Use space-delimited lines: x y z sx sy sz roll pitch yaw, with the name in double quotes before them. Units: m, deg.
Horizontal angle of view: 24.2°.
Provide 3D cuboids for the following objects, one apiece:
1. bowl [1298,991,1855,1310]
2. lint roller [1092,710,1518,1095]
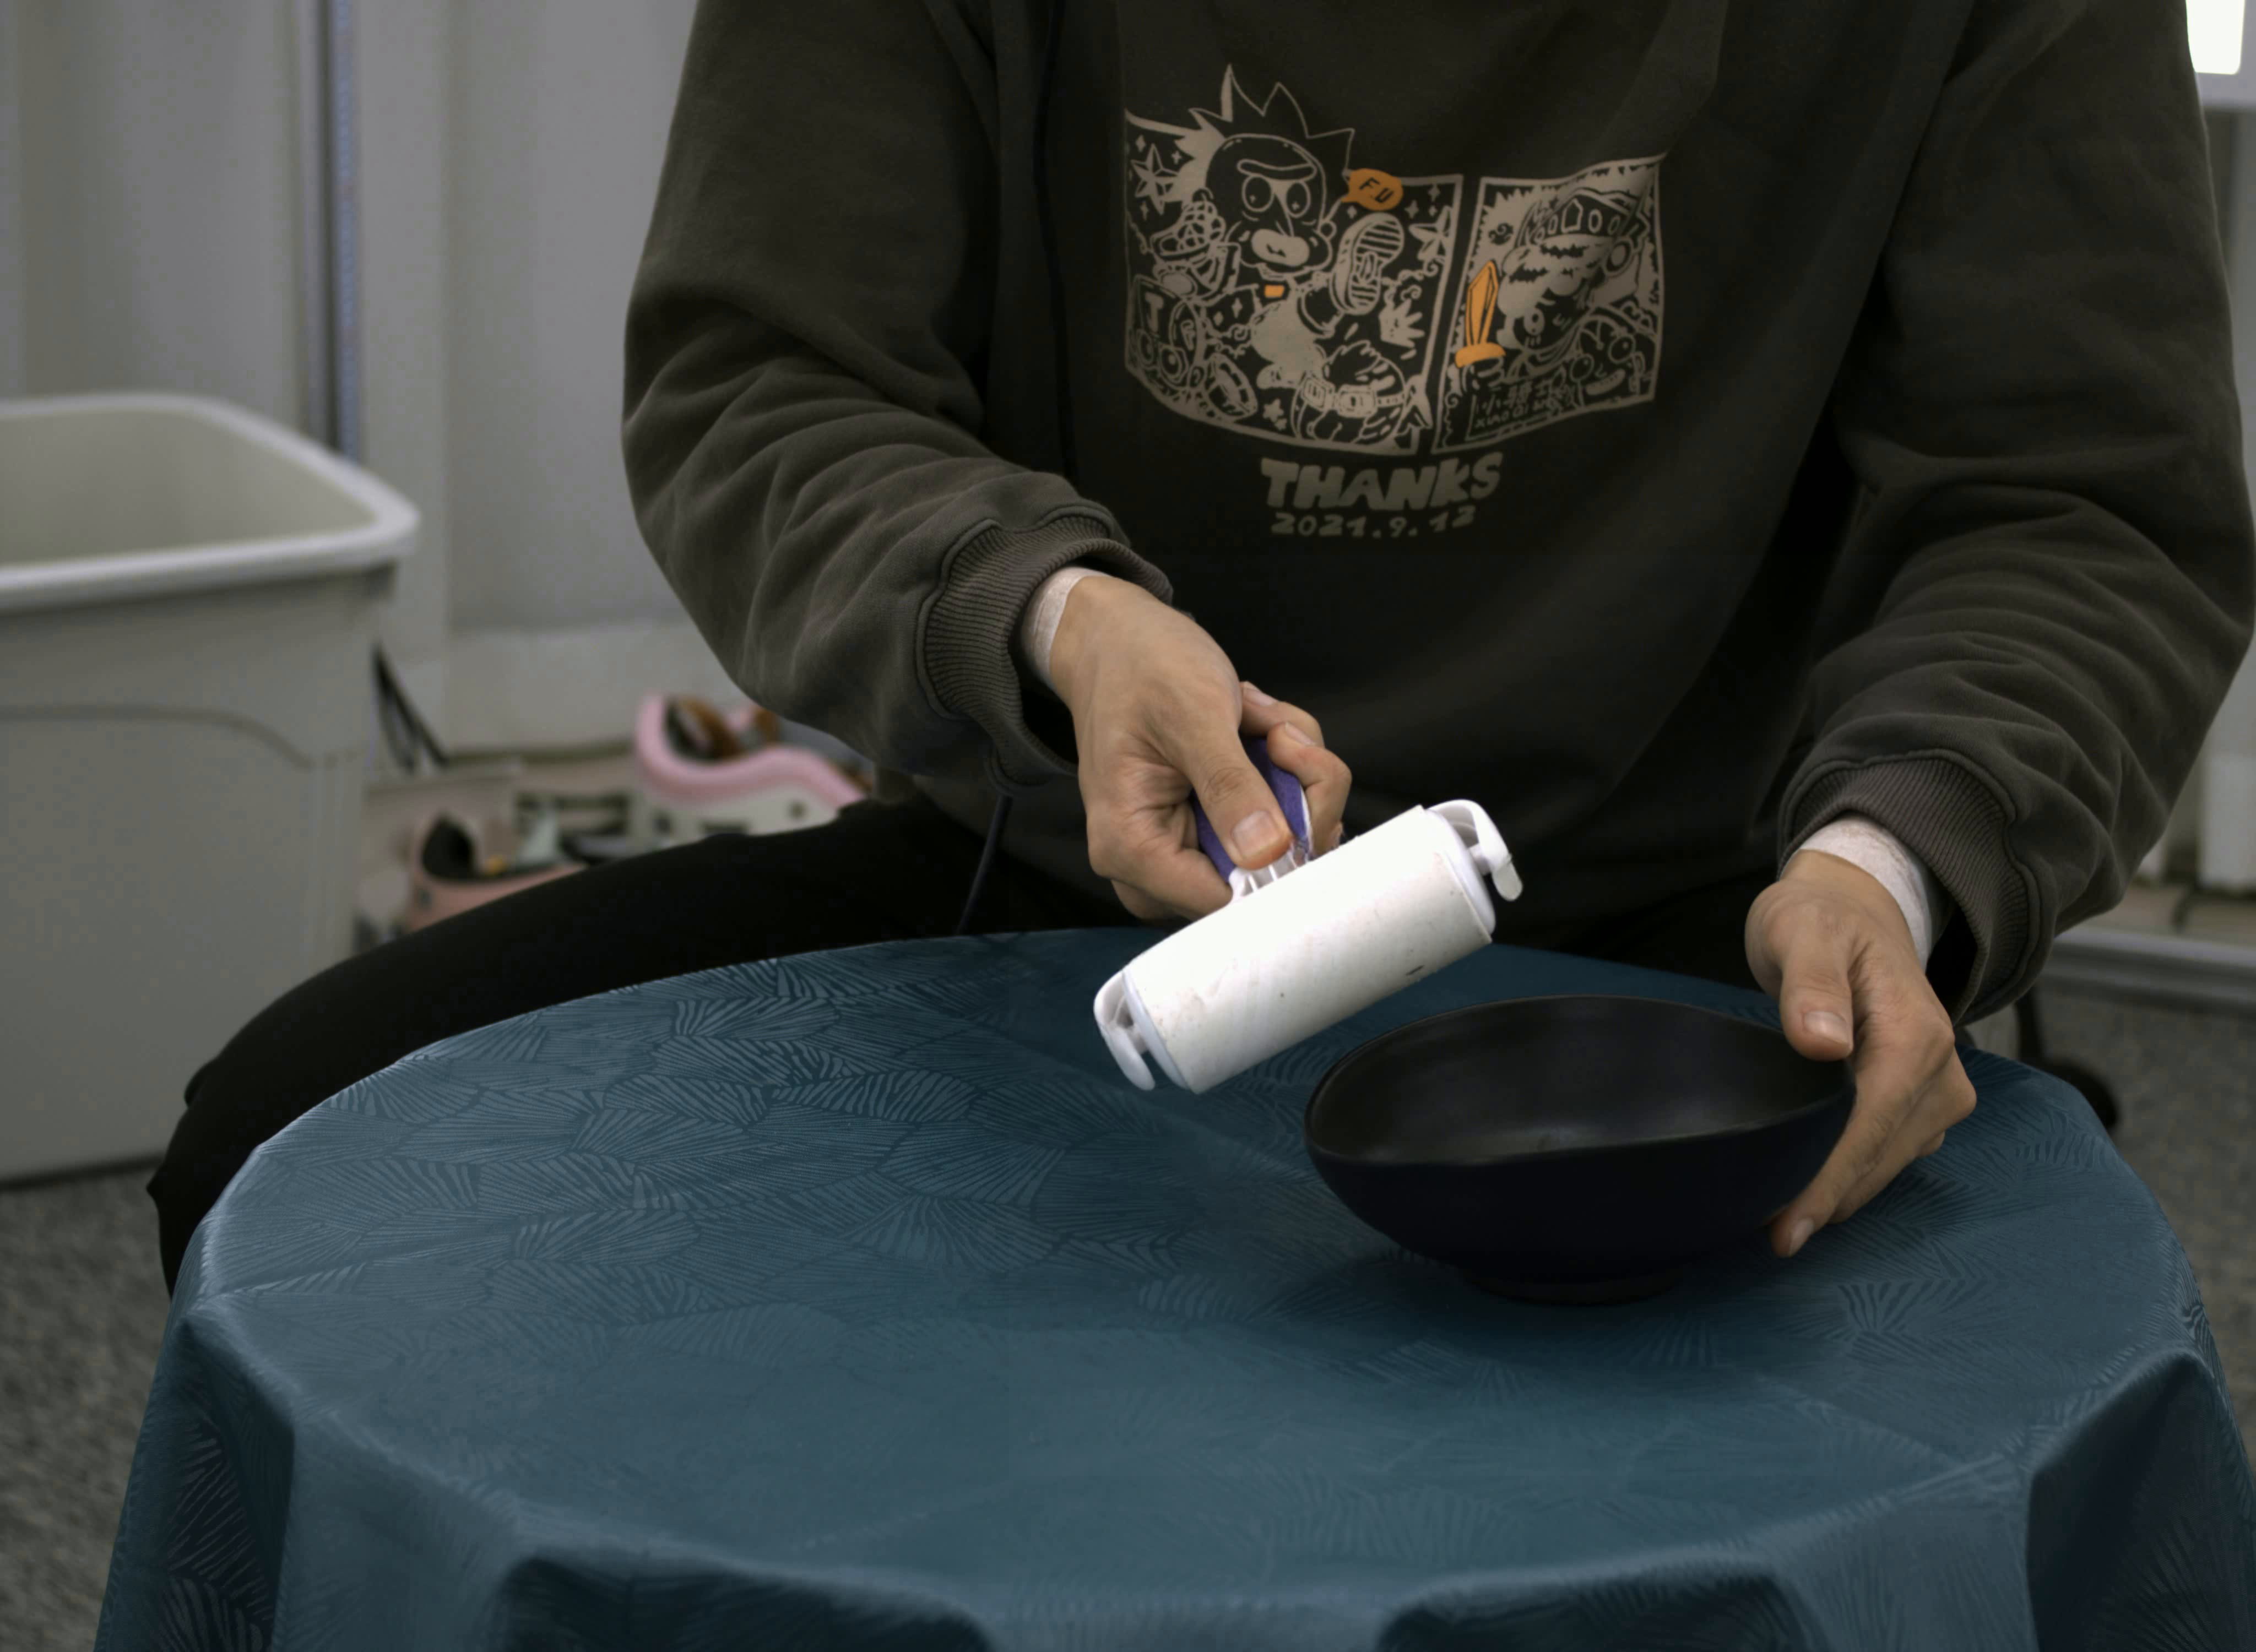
"bowl" 0.134 0.101 1.557 0.171 0.067 0.136 -8 17 -23
"lint roller" 0.040 0.001 1.613 0.132 0.051 0.178 -26 37 5
